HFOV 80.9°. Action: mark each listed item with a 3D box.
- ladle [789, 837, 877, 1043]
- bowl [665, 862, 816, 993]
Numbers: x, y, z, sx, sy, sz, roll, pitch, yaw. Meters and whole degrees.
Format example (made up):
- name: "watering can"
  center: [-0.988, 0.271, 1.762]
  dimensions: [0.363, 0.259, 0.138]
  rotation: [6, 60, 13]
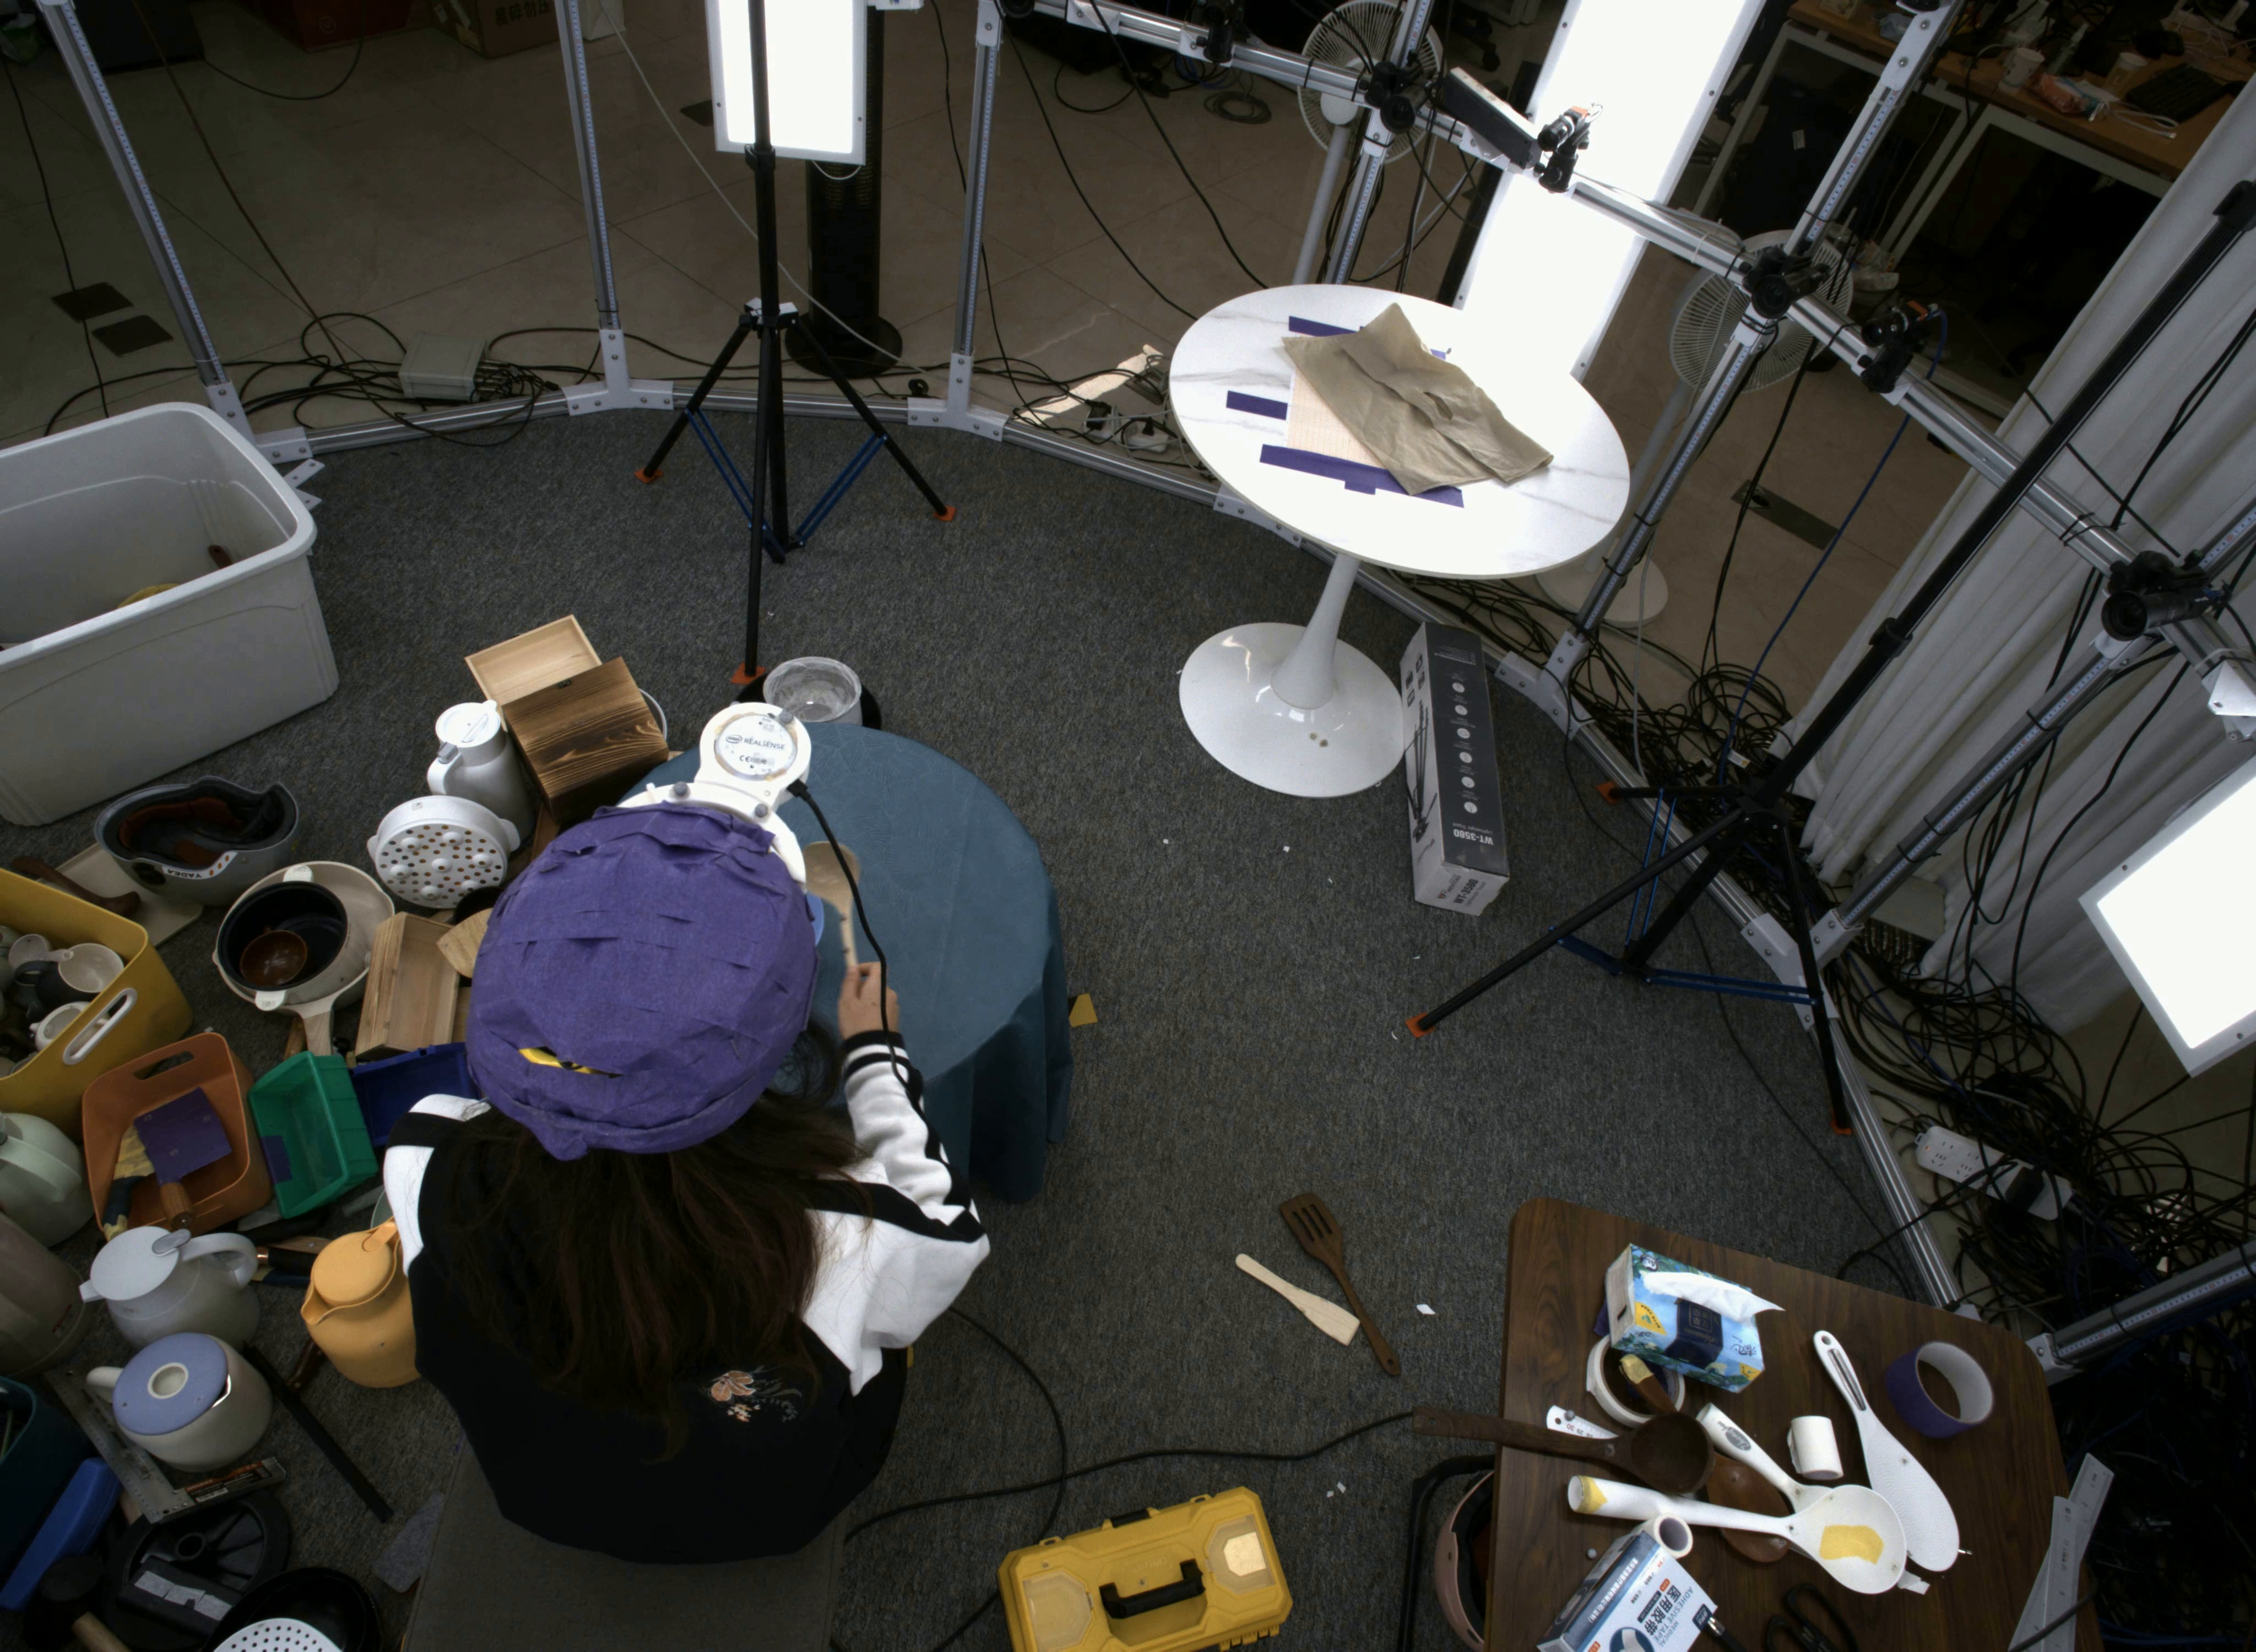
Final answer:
- name: "ladle"
  center: [-0.330, 0.121, 1.463]
  dimensions: [0.071, 0.075, 0.248]
  rotation: [-24, 56, 4]
- name: "bowl"
  center: [-0.465, 0.132, 1.564]
  dimensions: [0.175, 0.072, 0.173]
  rotation: [7, 52, -8]
